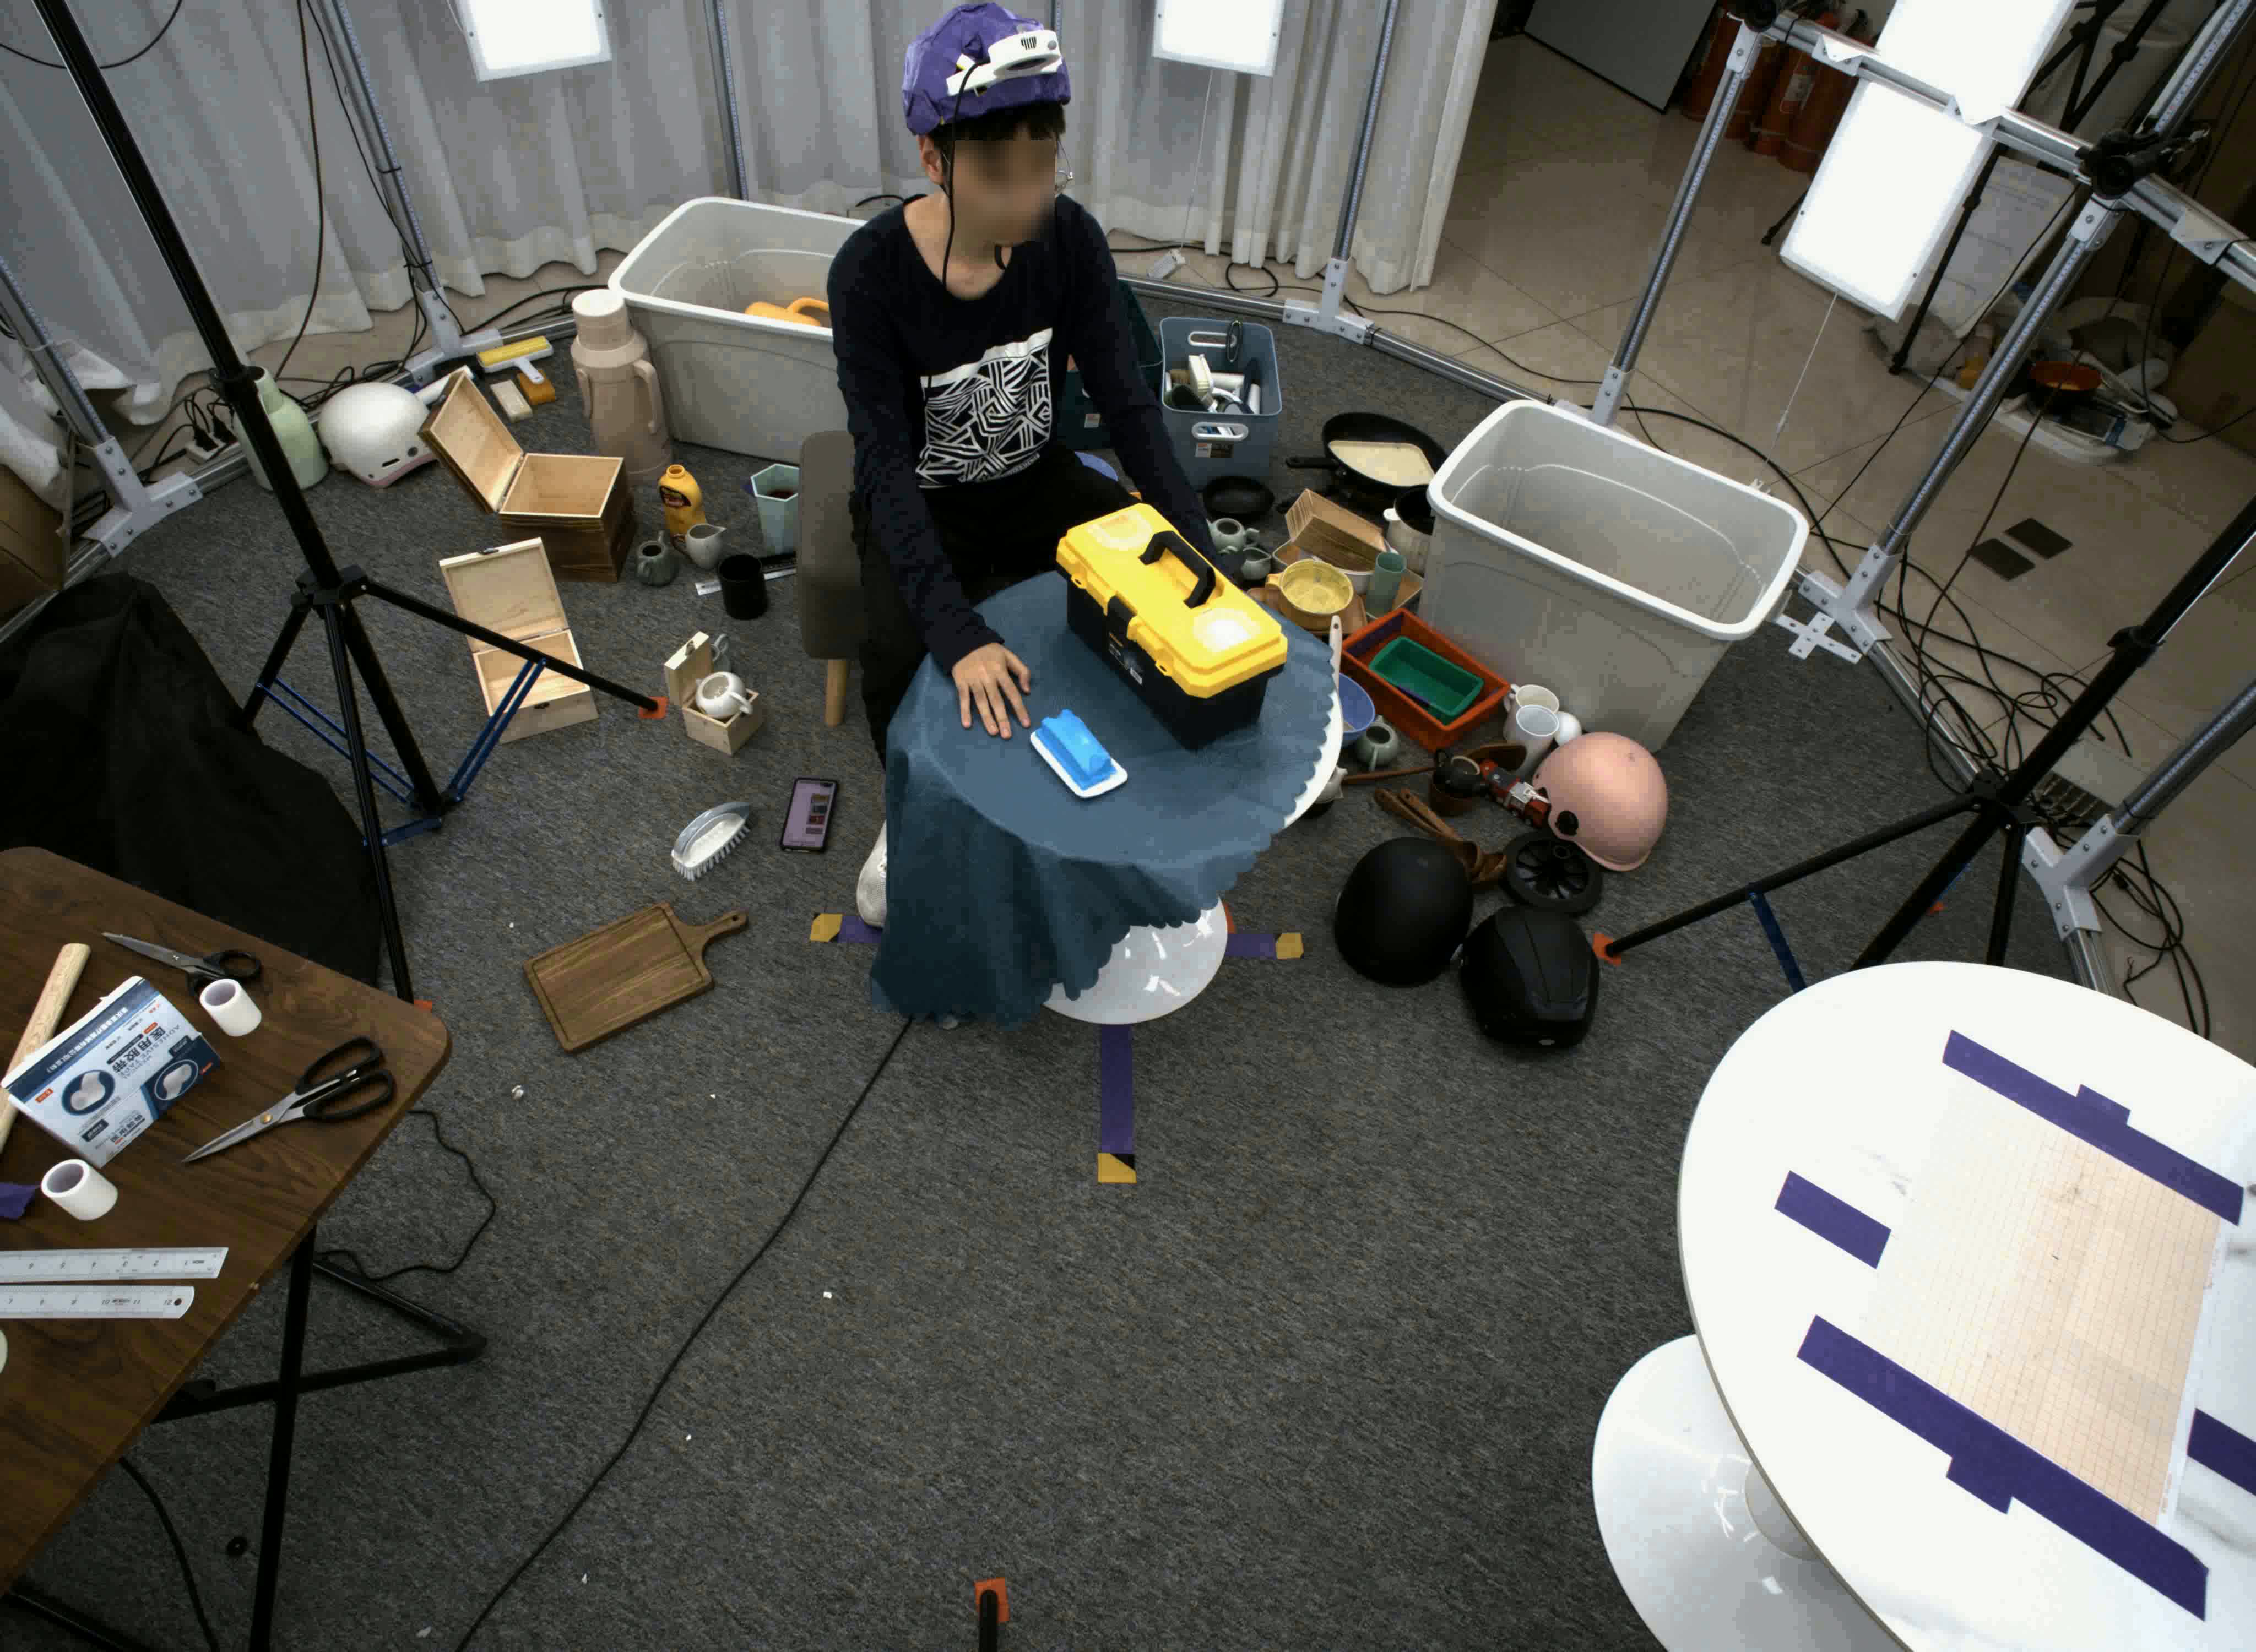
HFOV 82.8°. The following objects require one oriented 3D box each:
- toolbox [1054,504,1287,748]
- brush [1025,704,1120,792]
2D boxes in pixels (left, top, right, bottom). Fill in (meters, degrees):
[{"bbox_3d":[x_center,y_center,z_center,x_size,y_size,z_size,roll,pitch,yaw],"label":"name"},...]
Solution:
[{"bbox_3d":[0.051,-0.282,1.804,0.182,0.168,0.358,-25,55,-24],"label":"toolbox"},{"bbox_3d":[-0.072,-0.112,1.718,0.084,0.054,0.147,-21,55,-25],"label":"brush"}]
